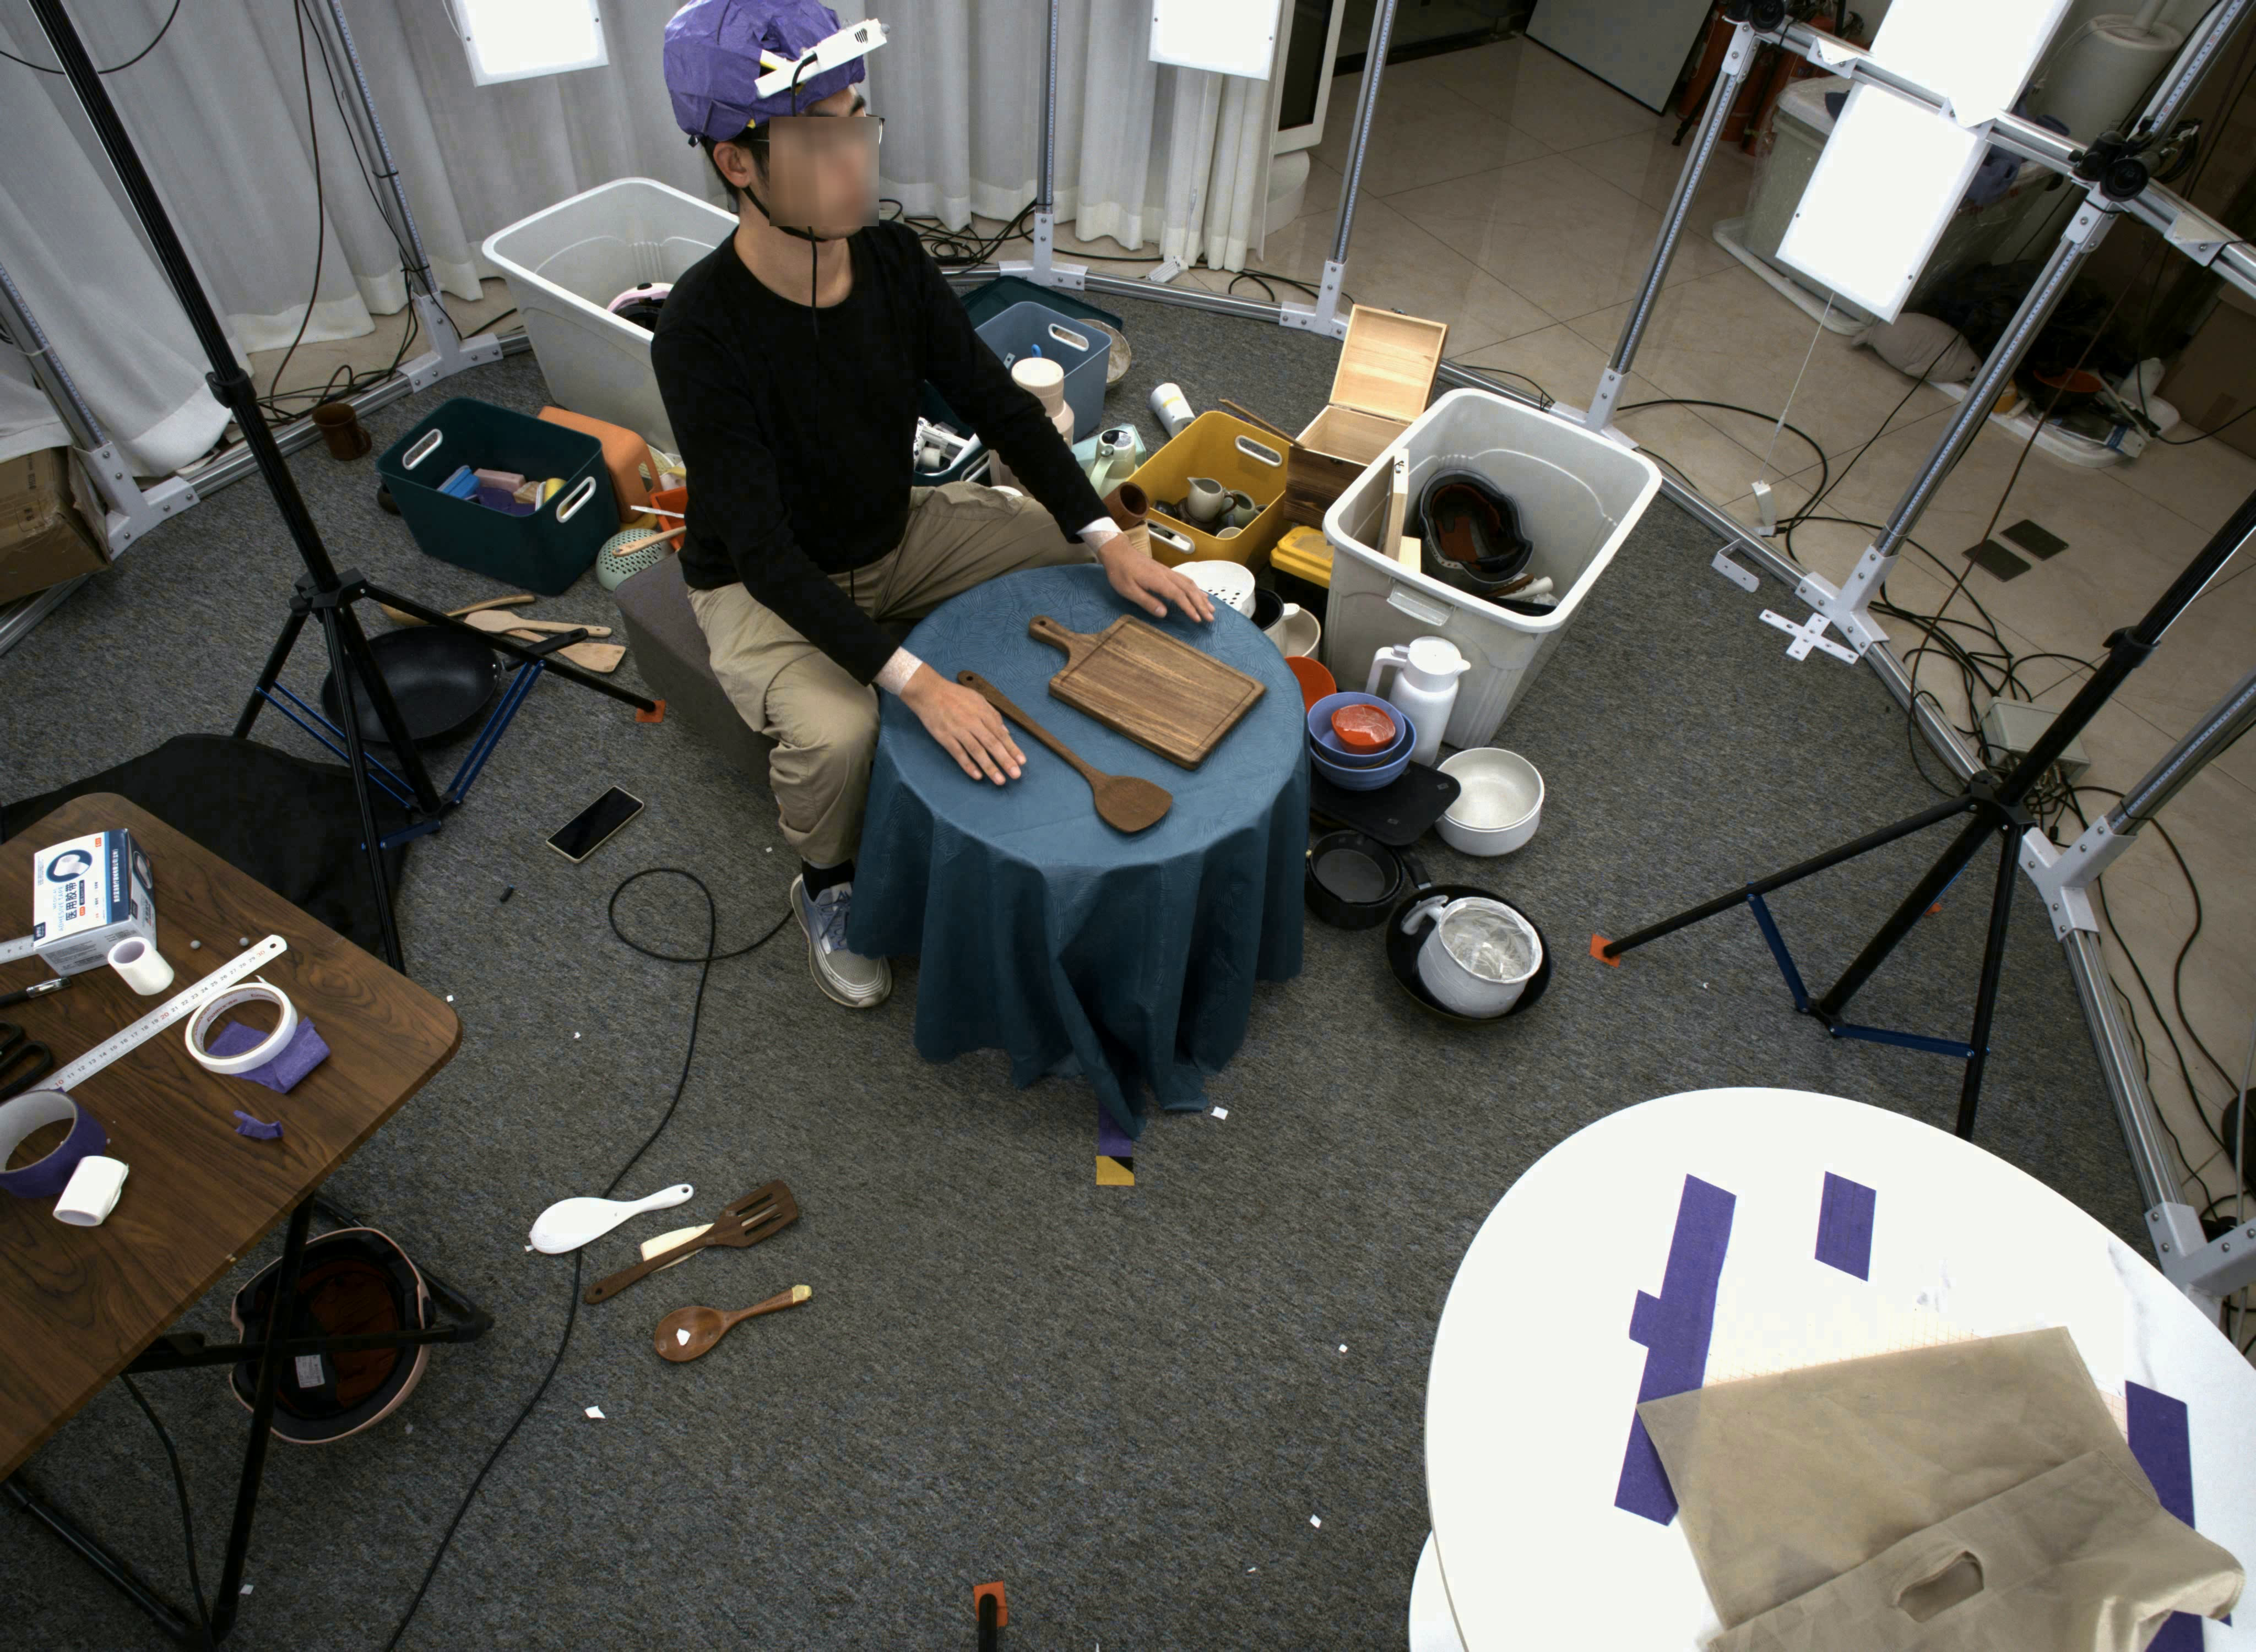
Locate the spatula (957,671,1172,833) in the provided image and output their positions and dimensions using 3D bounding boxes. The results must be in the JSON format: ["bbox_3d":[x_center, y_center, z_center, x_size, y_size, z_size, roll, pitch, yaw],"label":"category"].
[{"bbox_3d":[-0.102,-0.112,1.751,0.391,0.015,0.097,38,56,26],"label":"spatula"}]

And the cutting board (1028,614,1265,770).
[{"bbox_3d":[0.001,-0.221,1.848,0.356,0.022,0.204,30,53,20],"label":"cutting board"}]
